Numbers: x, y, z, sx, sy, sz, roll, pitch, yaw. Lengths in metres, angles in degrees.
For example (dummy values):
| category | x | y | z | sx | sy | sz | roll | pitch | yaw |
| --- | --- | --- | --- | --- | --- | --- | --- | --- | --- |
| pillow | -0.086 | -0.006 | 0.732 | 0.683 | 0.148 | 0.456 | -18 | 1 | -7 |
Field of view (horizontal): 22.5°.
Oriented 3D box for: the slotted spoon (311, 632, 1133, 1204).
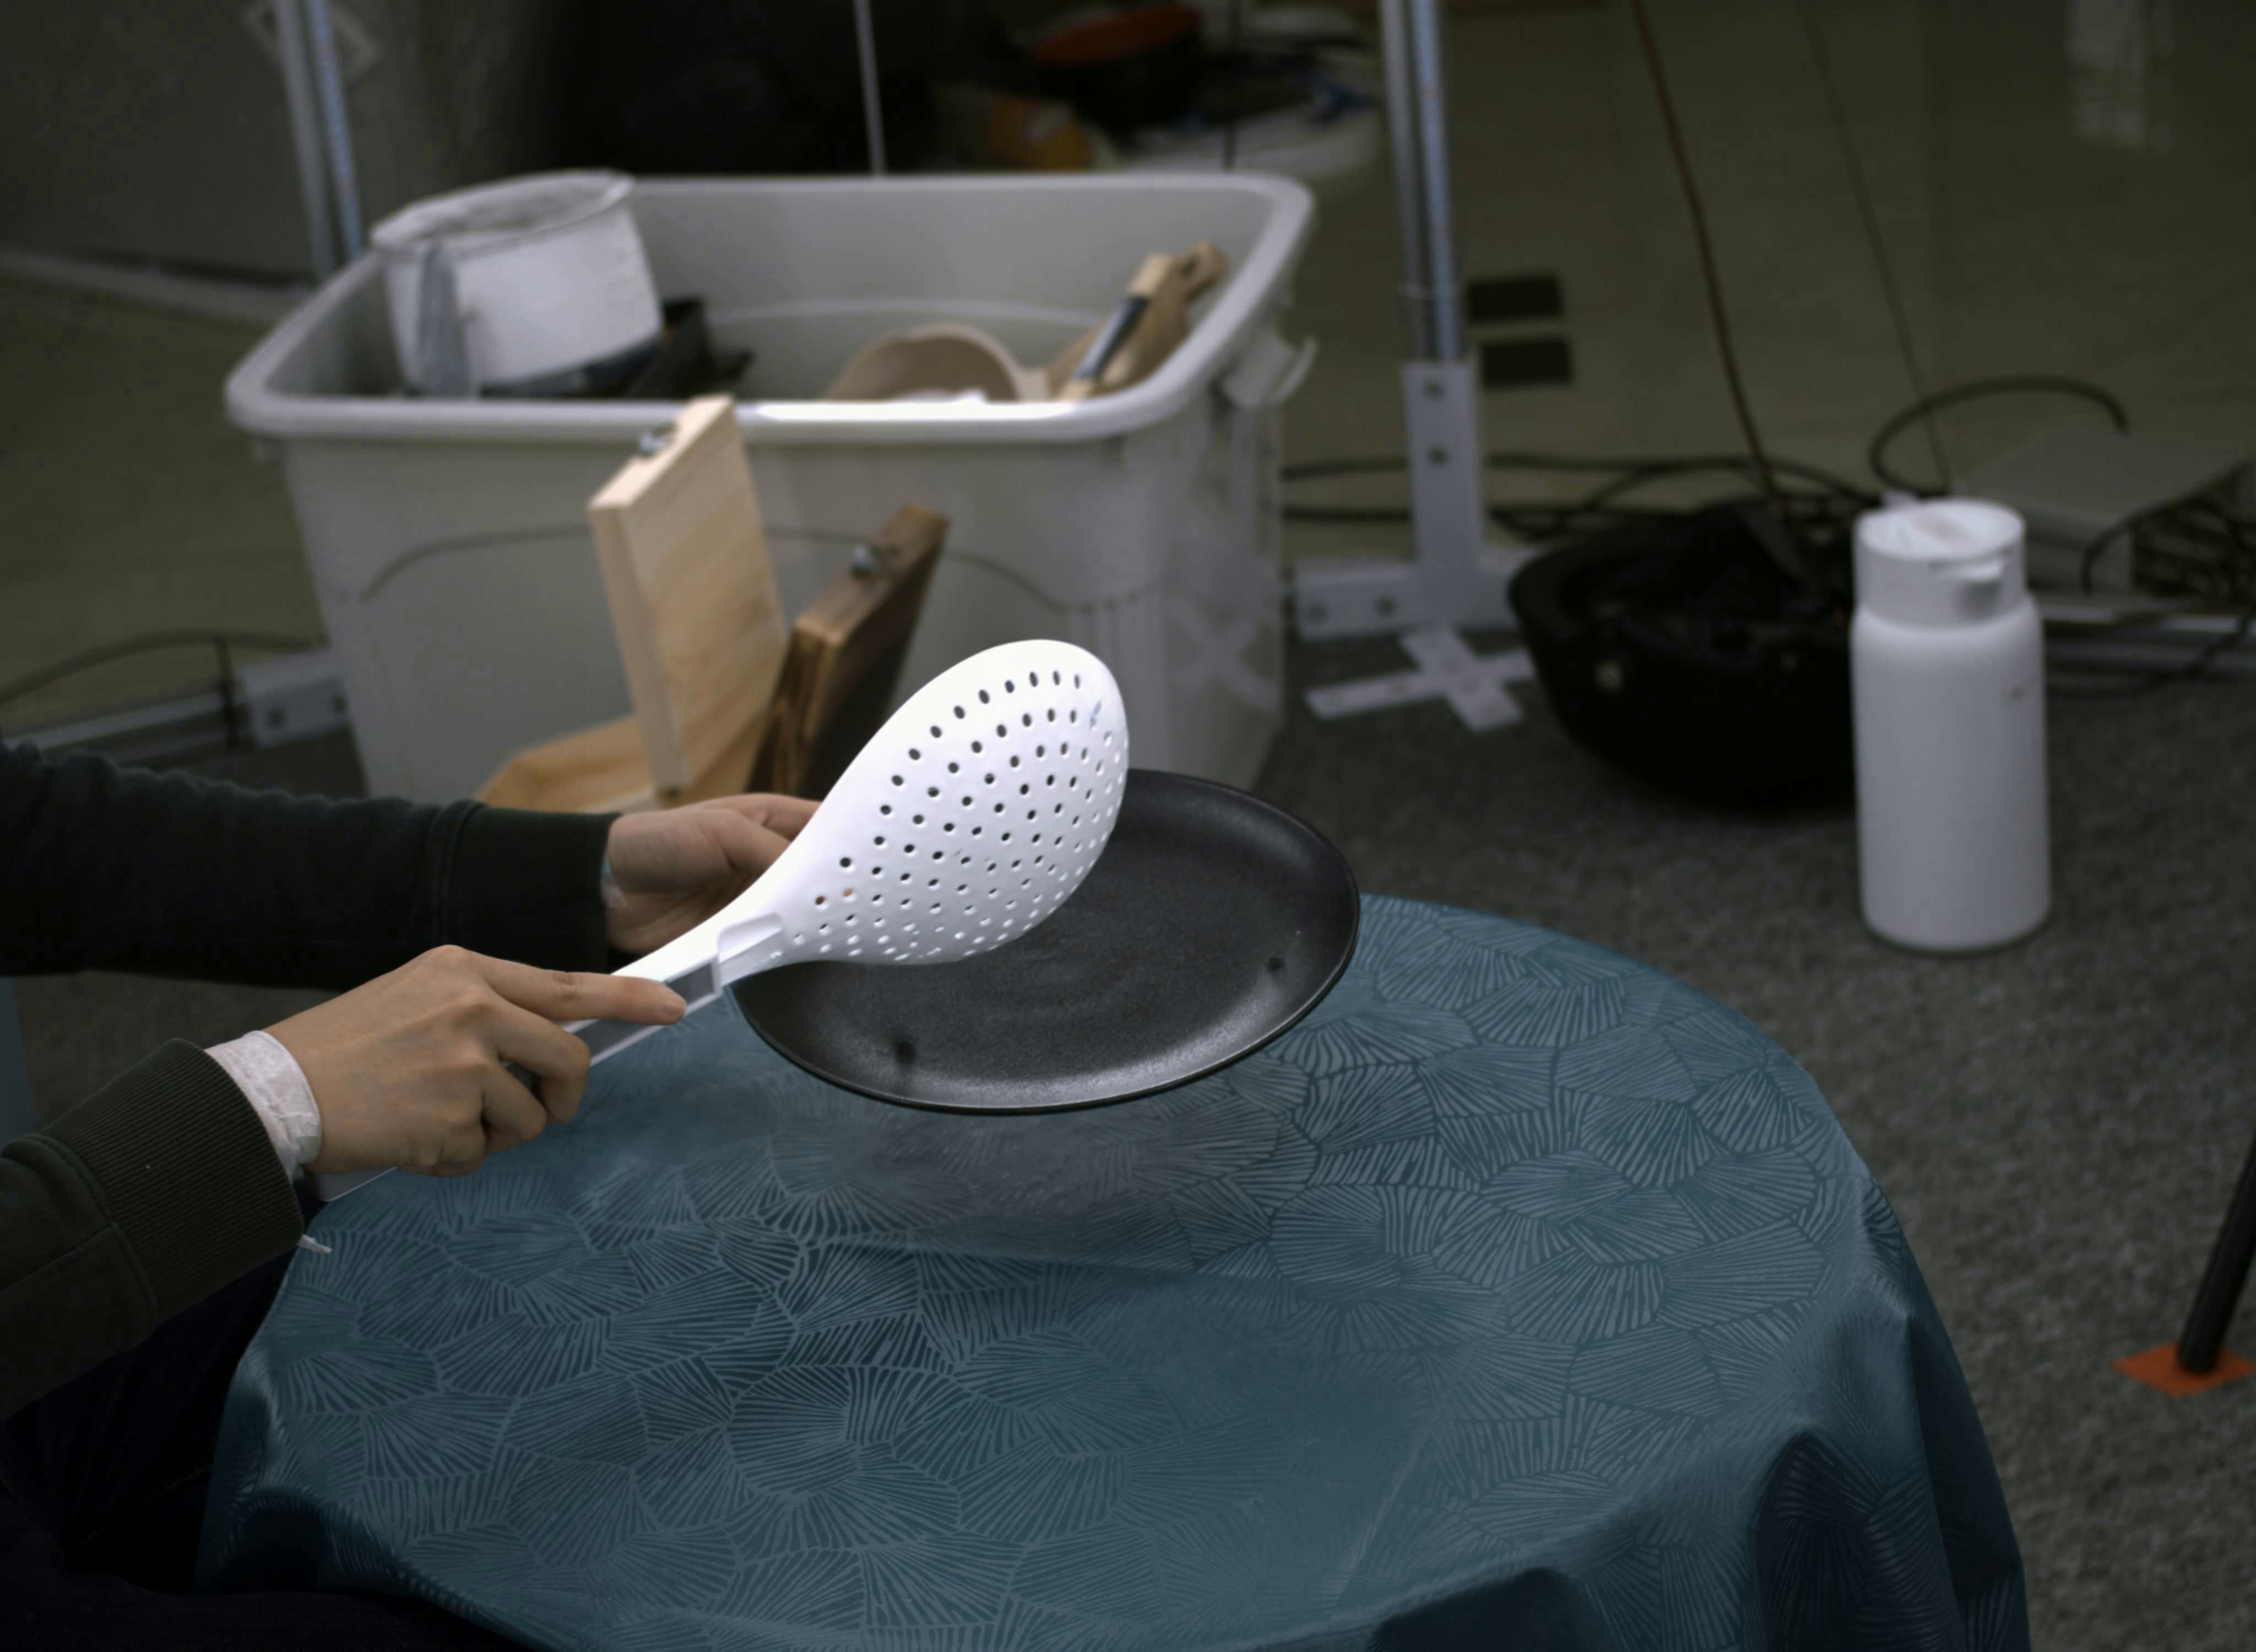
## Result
| category | x | y | z | sx | sy | sz | roll | pitch | yaw |
| --- | --- | --- | --- | --- | --- | --- | --- | --- | --- |
| slotted spoon | -0.135 | 0.041 | 1.994 | 0.347 | 0.139 | 0.045 | -25 | 46 | -21 |

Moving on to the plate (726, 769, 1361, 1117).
| category | x | y | z | sx | sy | sz | roll | pitch | yaw |
| --- | --- | --- | --- | --- | --- | --- | --- | --- | --- |
| plate | -0.032 | 0.049 | 2.165 | 0.244 | 0.024 | 0.240 | -4 | 31 | 3 |
